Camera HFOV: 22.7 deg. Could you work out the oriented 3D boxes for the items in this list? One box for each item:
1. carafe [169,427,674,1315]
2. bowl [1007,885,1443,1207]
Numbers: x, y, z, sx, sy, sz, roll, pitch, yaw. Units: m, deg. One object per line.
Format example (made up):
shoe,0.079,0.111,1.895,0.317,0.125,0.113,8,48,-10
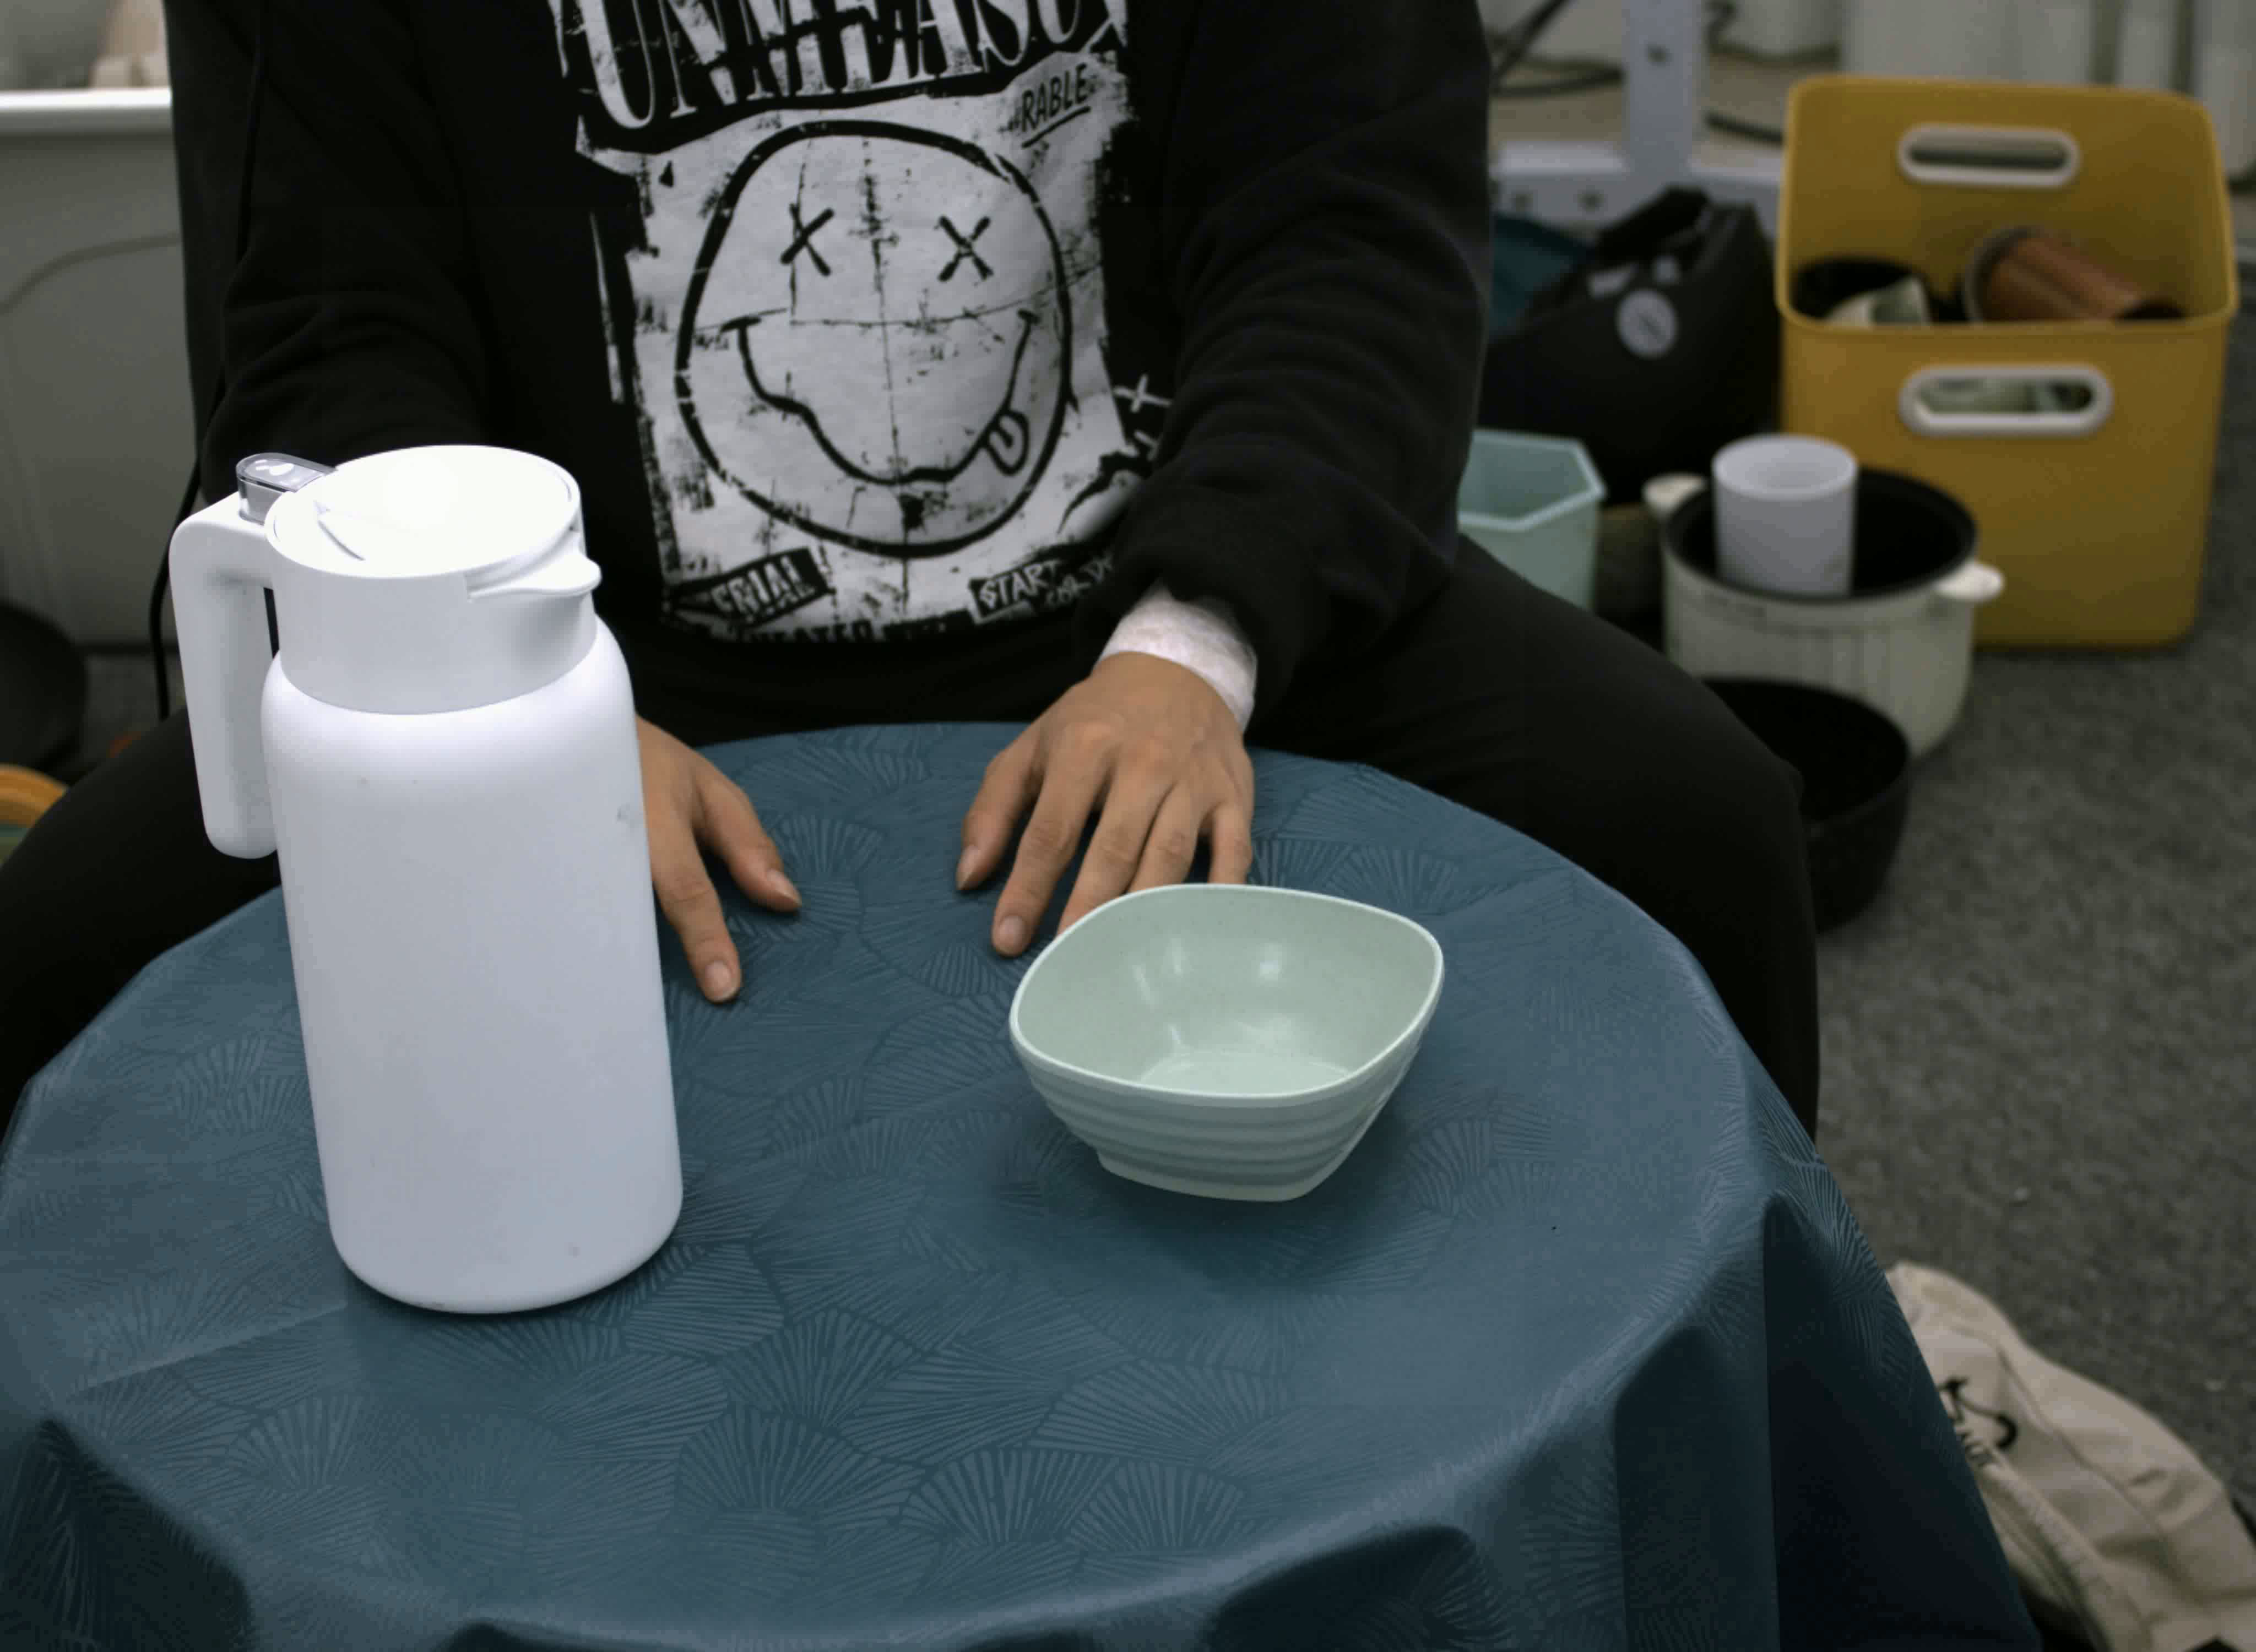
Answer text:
carafe,-0.227,0.013,1.804,0.172,0.266,0.126,14,33,31
bowl,0.034,0.079,1.879,0.151,0.058,0.154,-2,27,1
